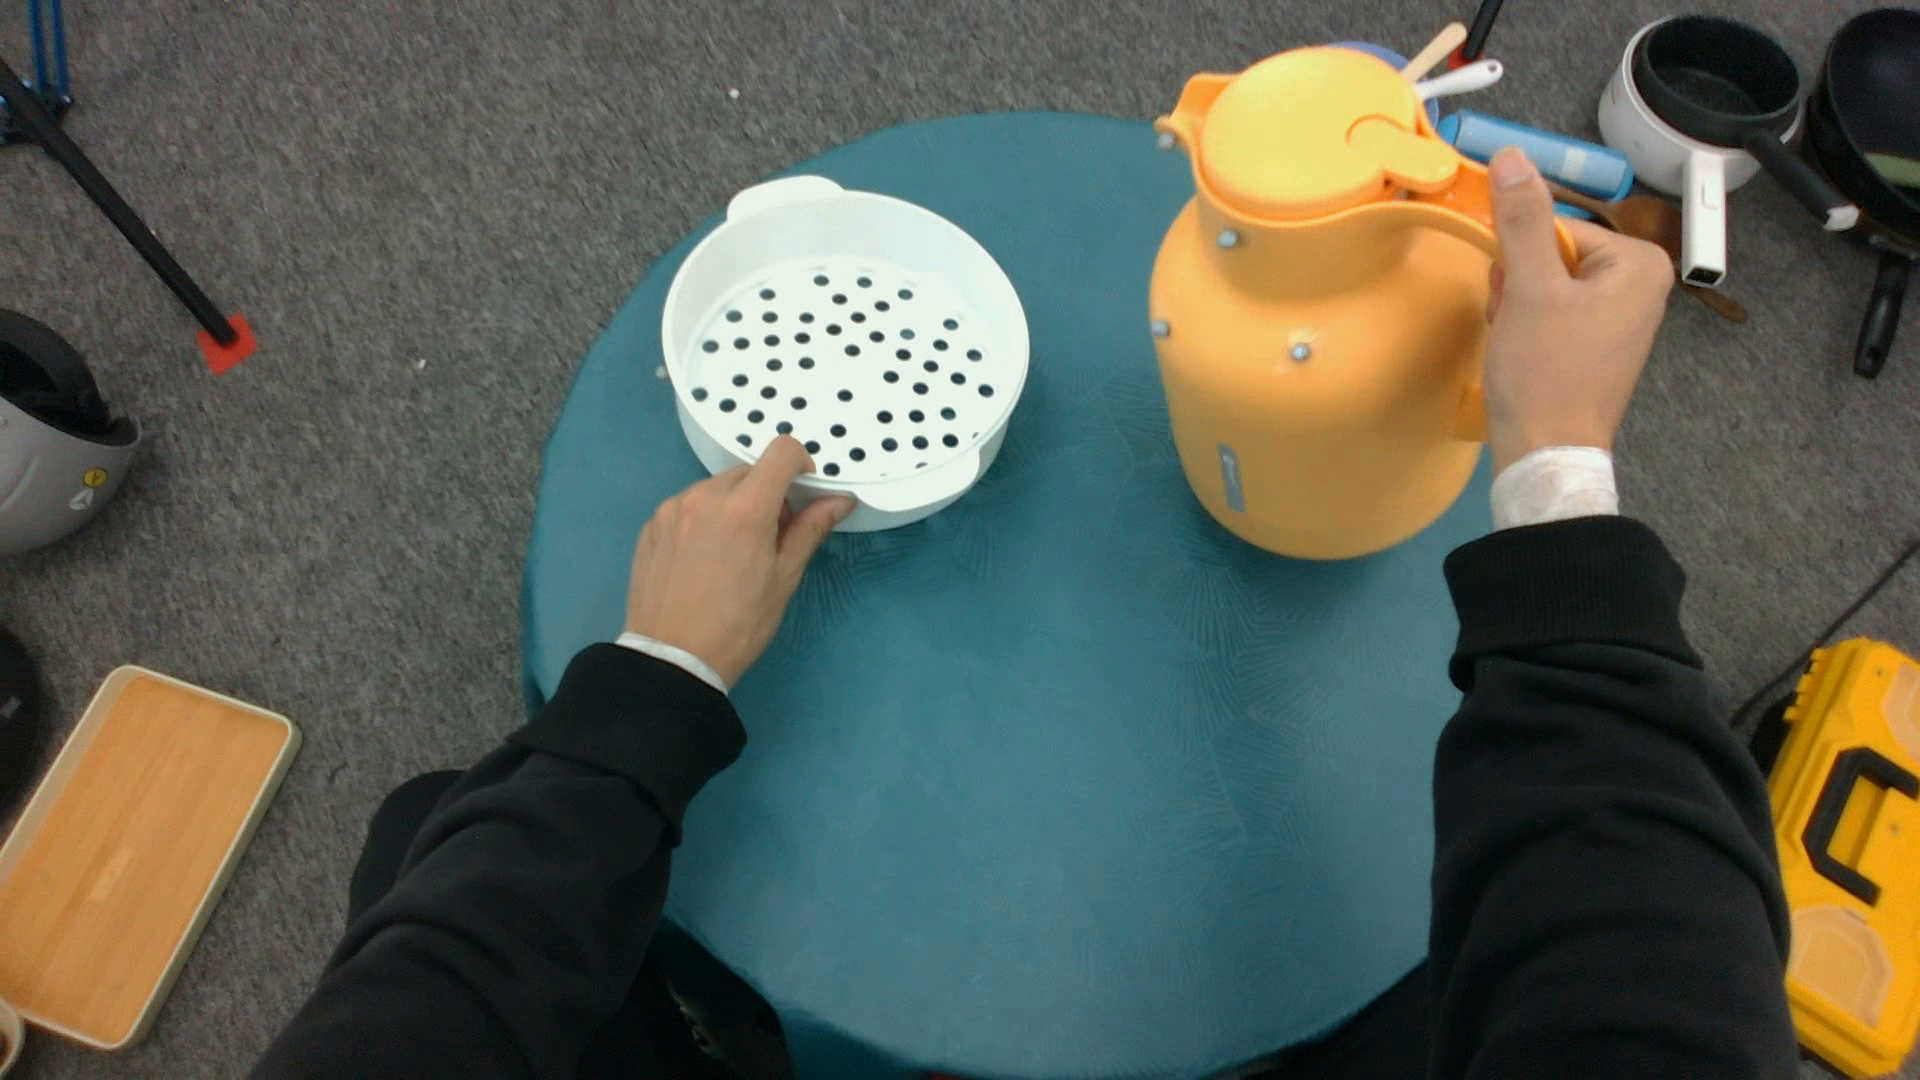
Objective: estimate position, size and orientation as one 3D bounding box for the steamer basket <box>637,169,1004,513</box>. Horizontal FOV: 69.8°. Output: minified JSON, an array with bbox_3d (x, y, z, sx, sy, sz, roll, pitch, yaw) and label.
[{"bbox_3d":[-0.079,-0.109,0.782,0.202,0.069,0.231,-18,63,-20],"label":"steamer basket"}]

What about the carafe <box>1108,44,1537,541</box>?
[{"bbox_3d":[0.177,-0.111,0.673,0.202,0.260,0.164,28,75,32],"label":"carafe"}]
